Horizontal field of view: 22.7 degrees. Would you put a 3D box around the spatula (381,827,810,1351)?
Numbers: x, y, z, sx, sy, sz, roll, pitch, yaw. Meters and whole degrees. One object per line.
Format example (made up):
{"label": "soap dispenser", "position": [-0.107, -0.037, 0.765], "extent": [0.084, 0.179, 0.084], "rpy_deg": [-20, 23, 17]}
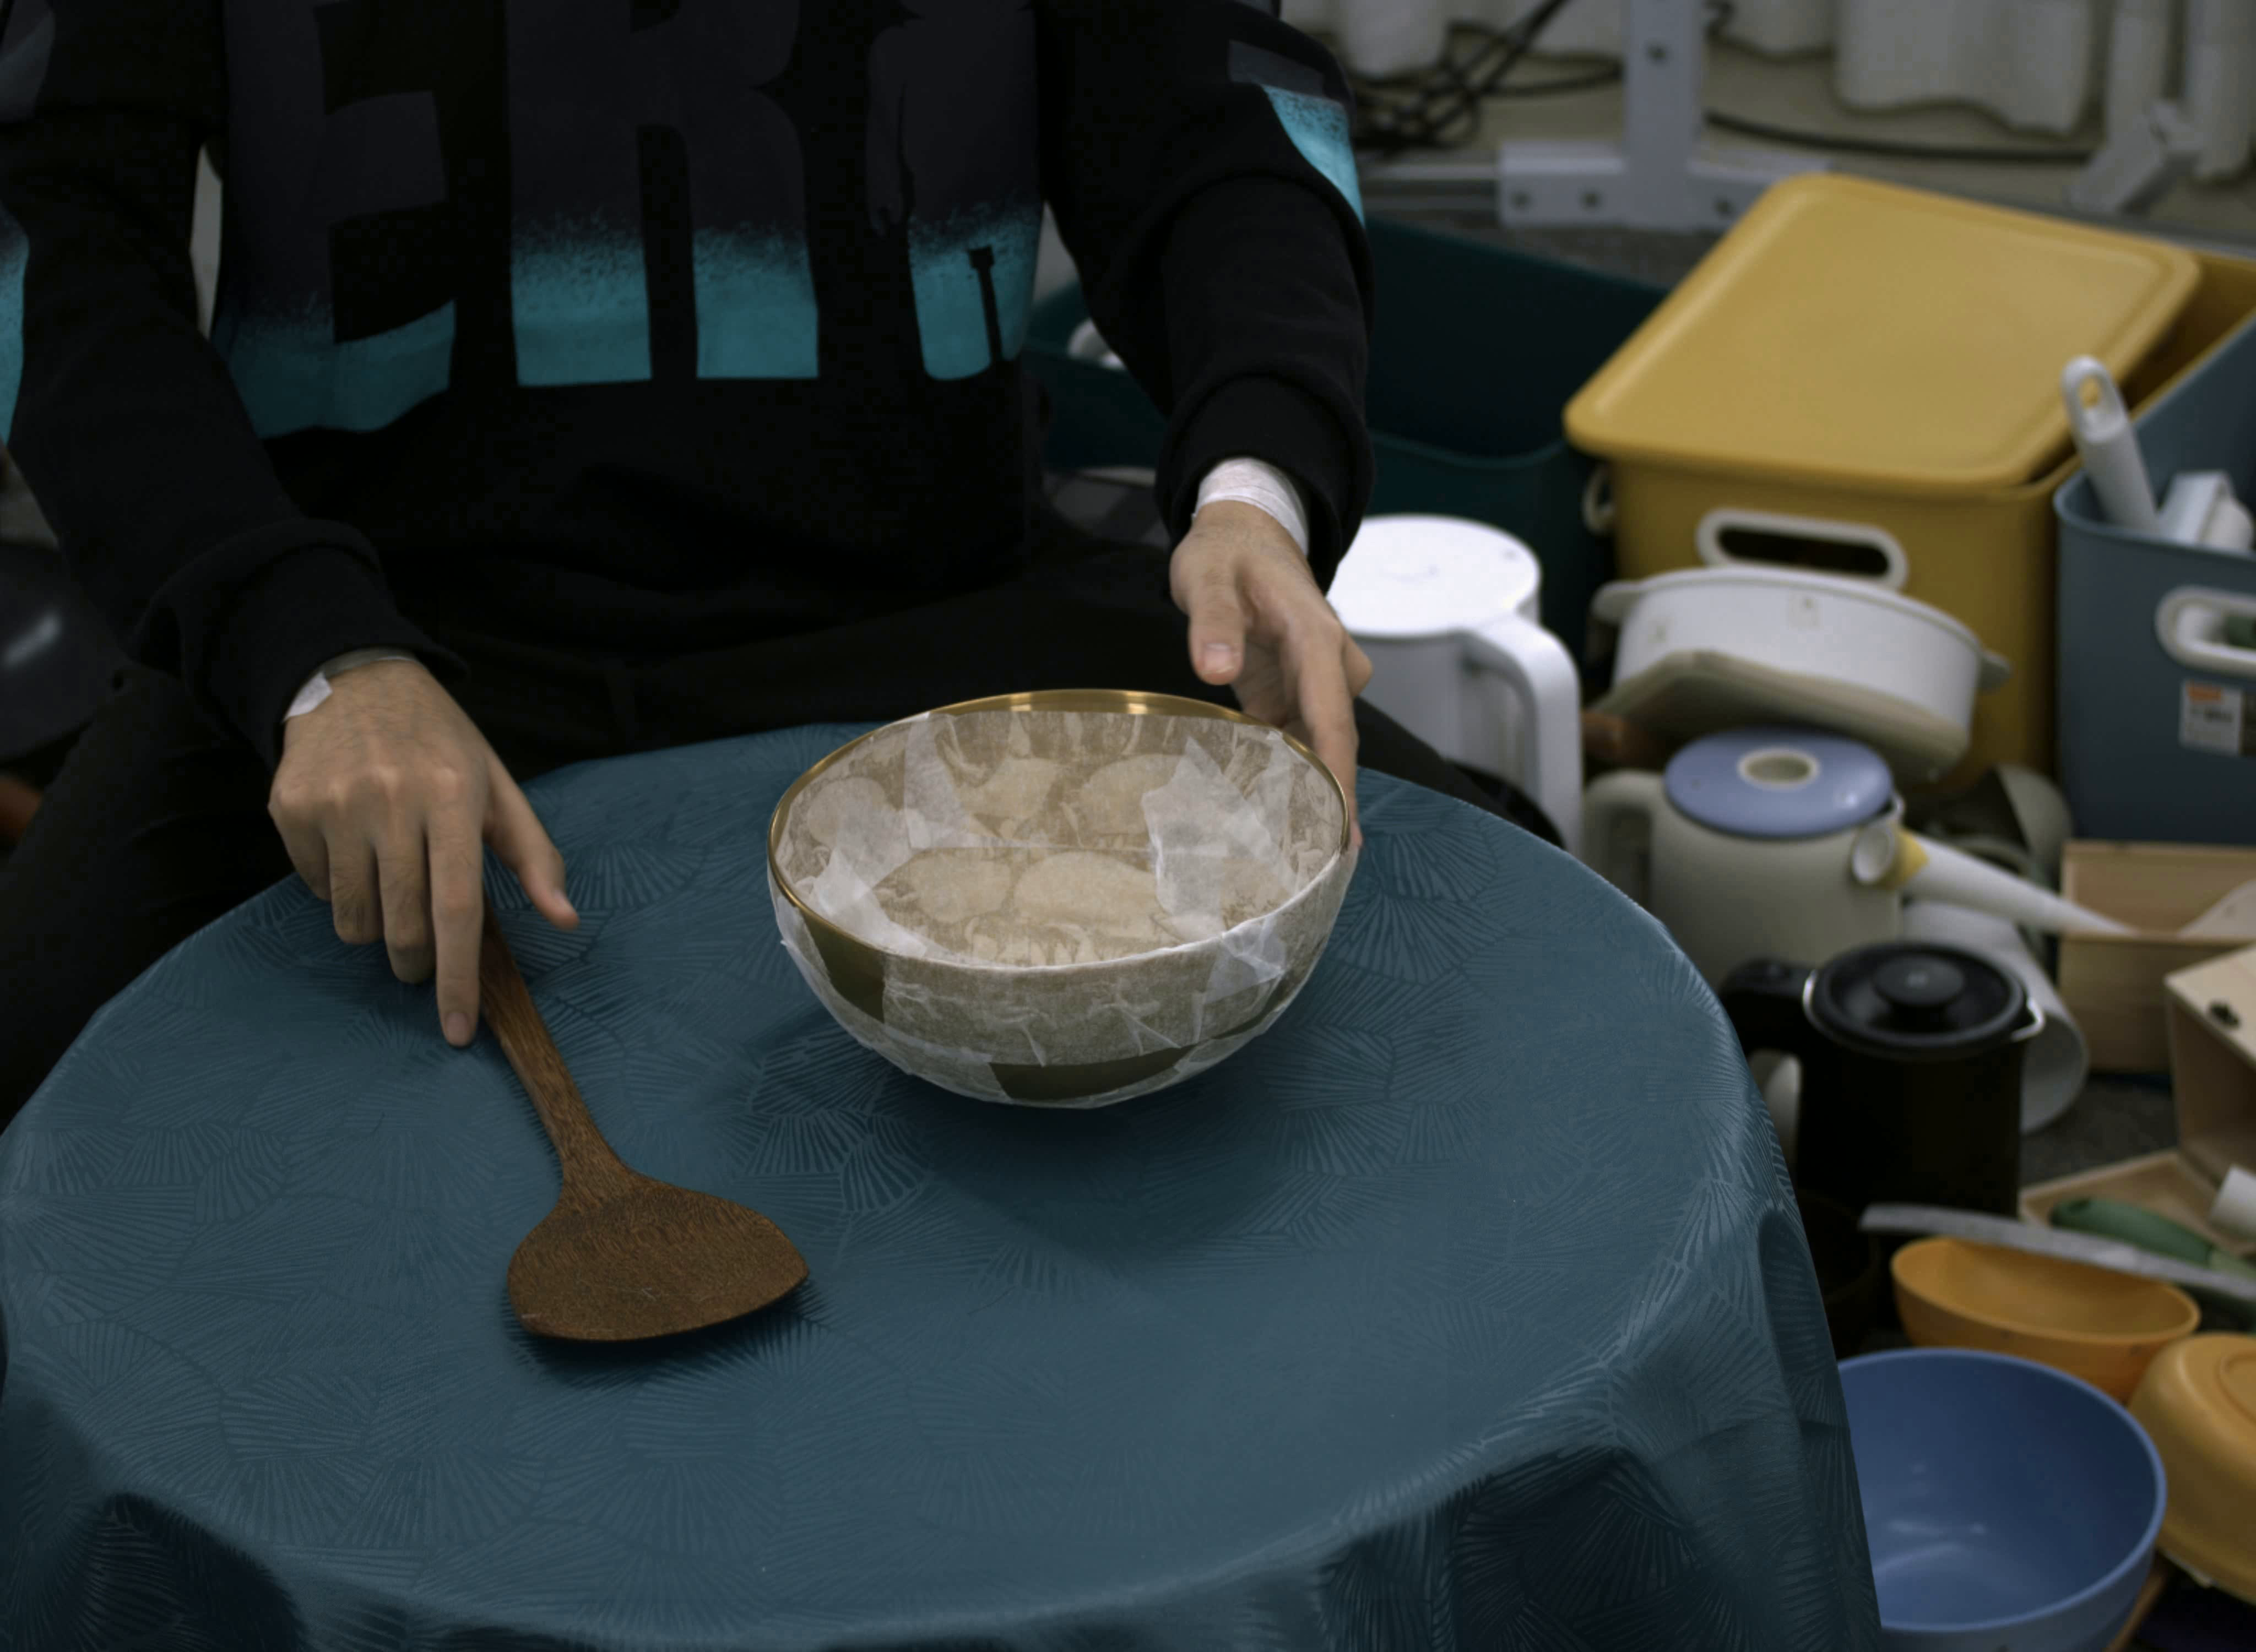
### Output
{"label": "spatula", "position": [-0.204, 0.082, 1.941], "extent": [0.096, 0.015, 0.389], "rpy_deg": [-11, 29, -17]}

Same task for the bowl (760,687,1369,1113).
{"label": "bowl", "position": [-0.019, 0.037, 1.928], "extent": [0.213, 0.093, 0.218], "rpy_deg": [-4, 26, 2]}
